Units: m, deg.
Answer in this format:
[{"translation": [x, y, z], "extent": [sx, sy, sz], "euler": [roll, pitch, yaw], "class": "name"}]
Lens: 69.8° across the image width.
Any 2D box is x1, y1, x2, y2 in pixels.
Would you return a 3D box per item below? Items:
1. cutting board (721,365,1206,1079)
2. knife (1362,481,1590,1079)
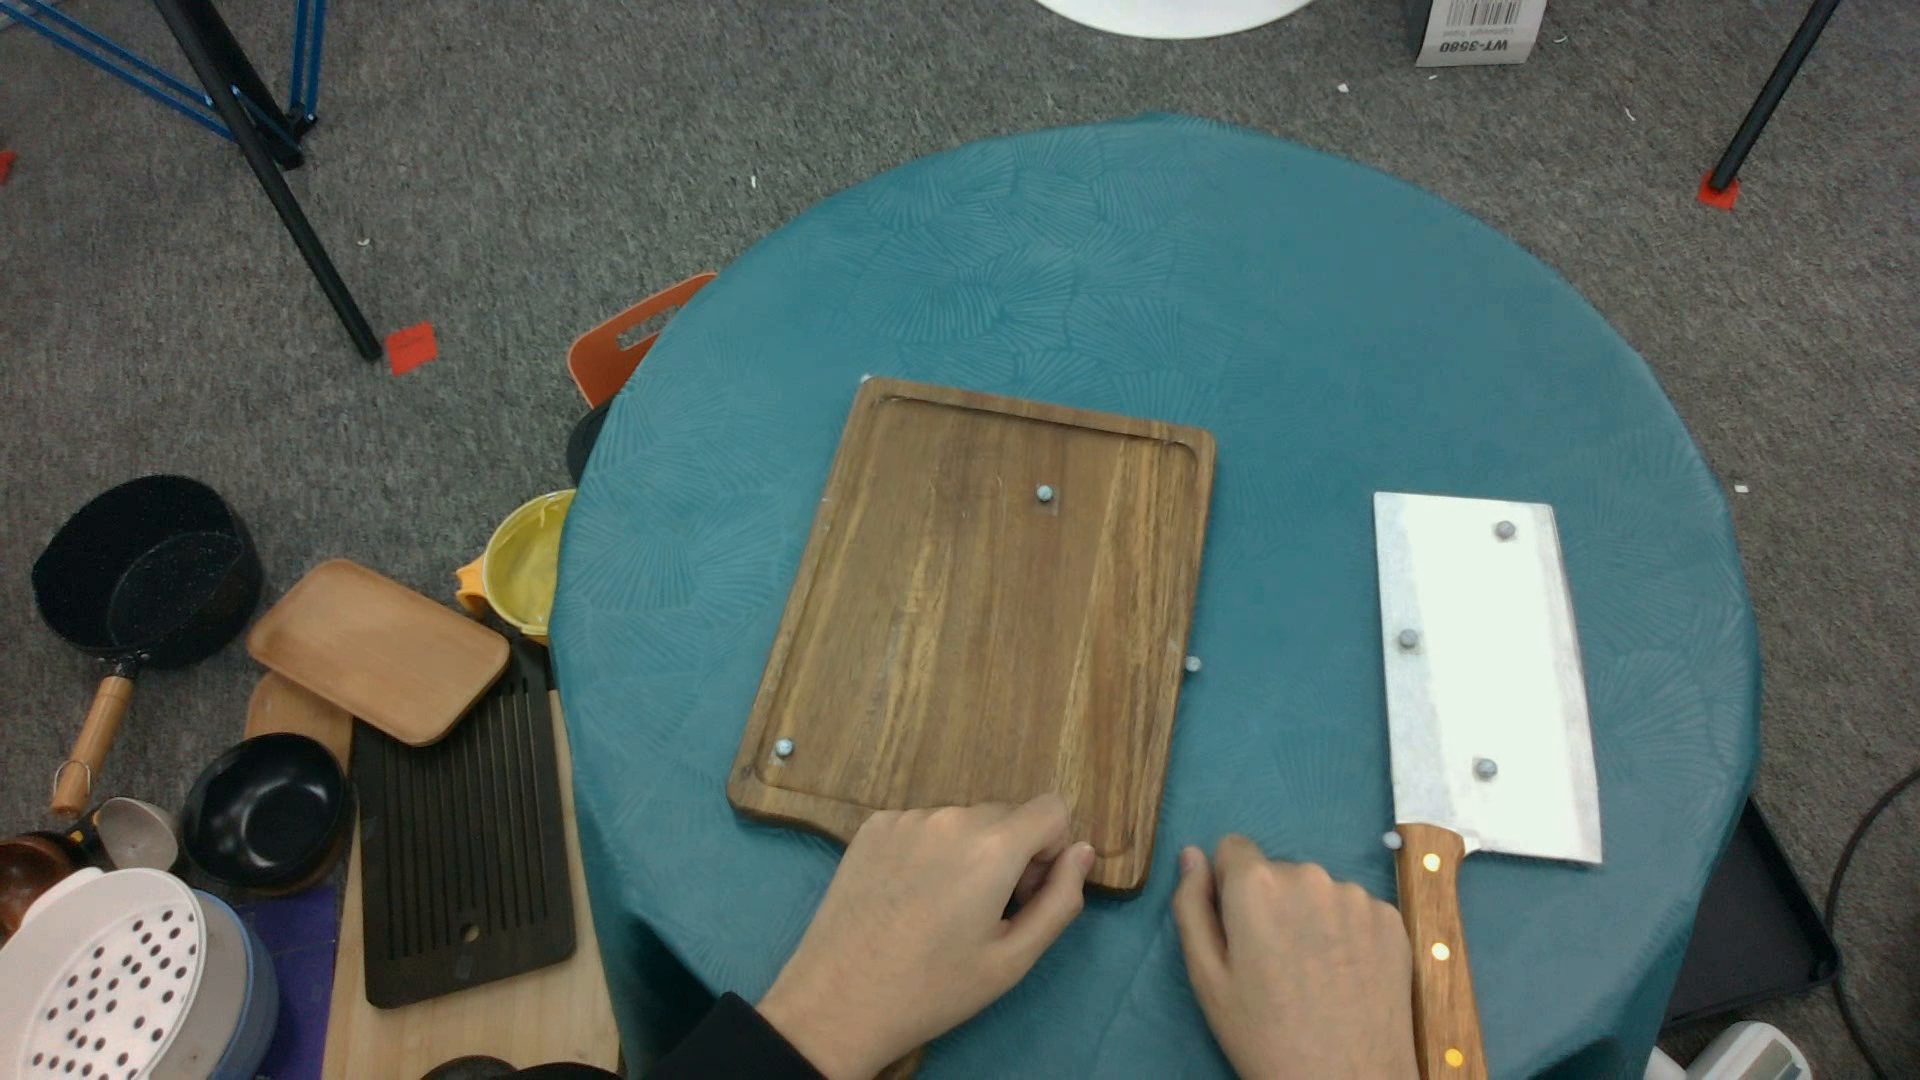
[{"translation": [0.000, 0.071, 0.654], "extent": [0.201, 0.023, 0.353], "euler": [9, 61, 8], "class": "cutting board"}, {"translation": [0.238, 0.099, 0.631], "extent": [0.093, 0.021, 0.307], "euler": [5, 58, 3], "class": "knife"}]
